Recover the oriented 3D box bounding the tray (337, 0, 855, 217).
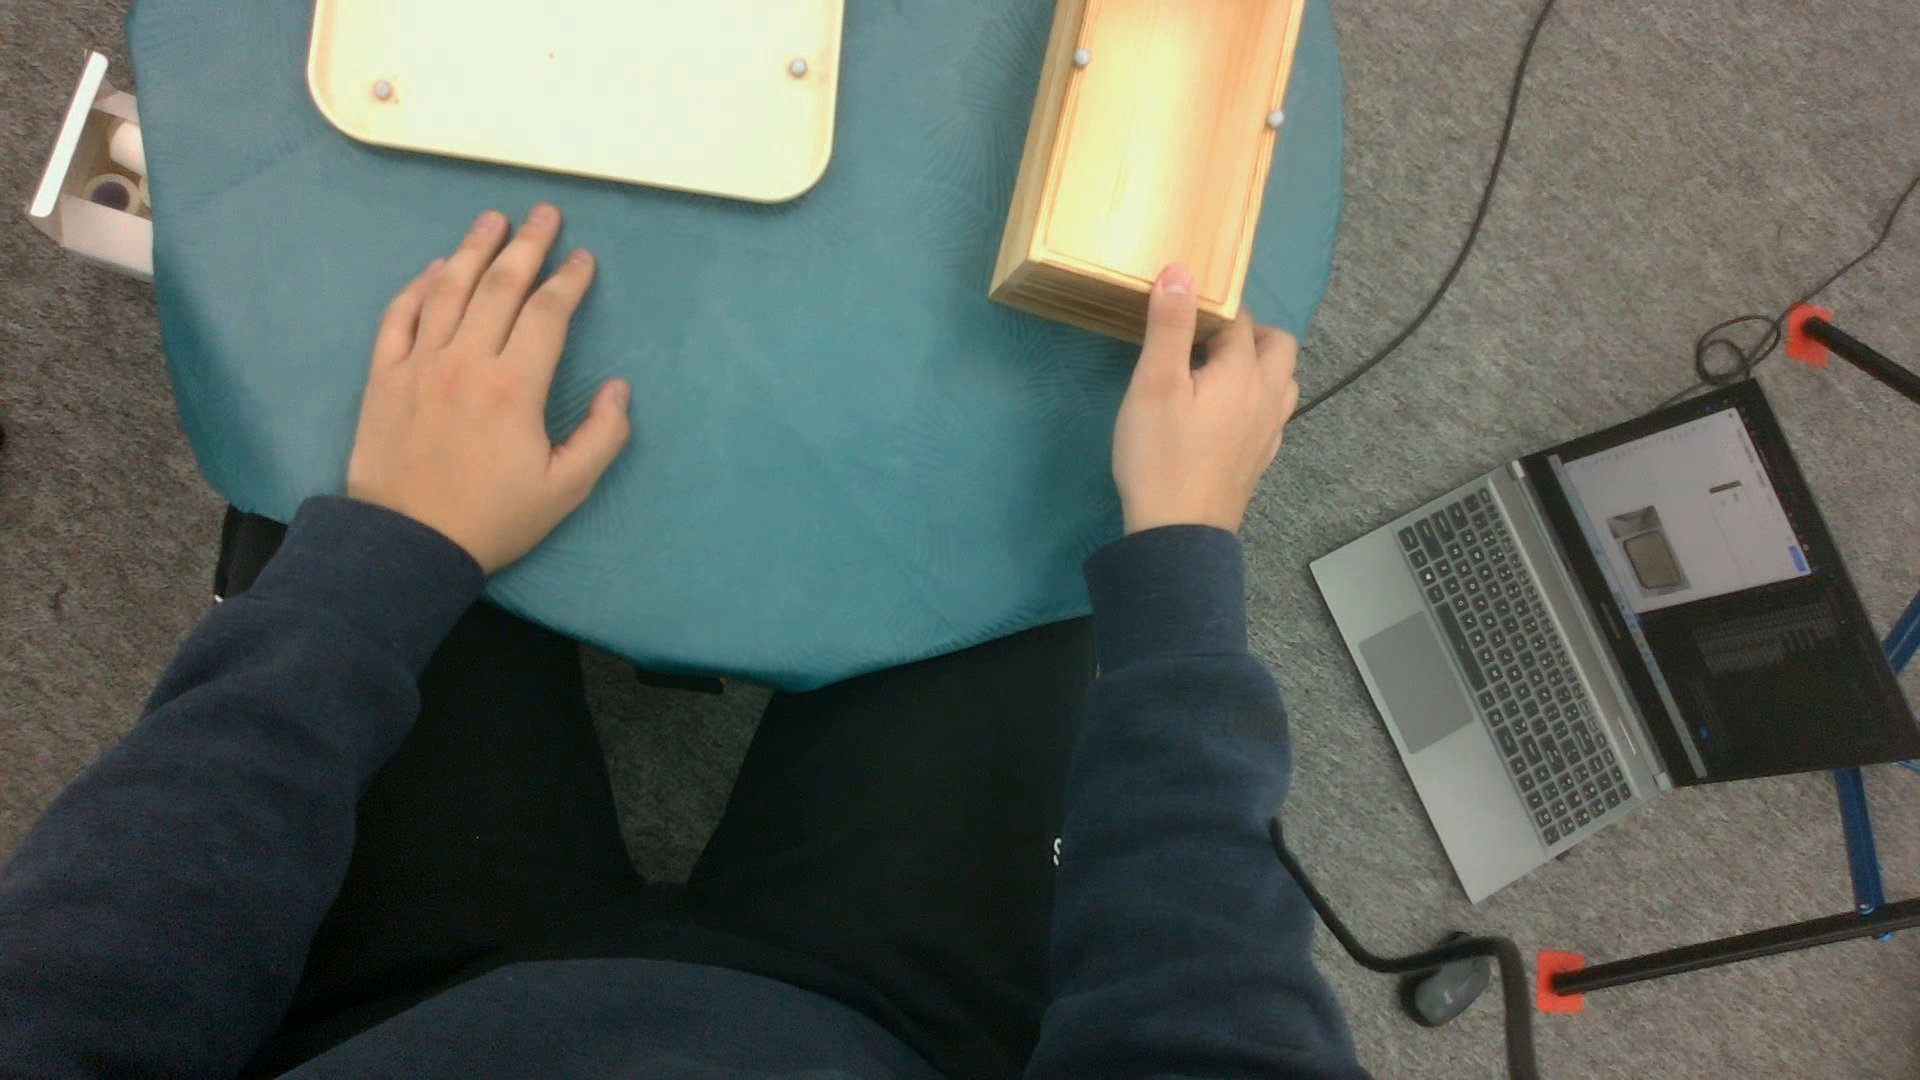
[{"bbox_3d":[-0.174,-0.252,0.681,0.240,0.017,0.171,5,84,-12],"label":"tray"}]

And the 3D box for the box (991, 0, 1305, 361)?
[{"bbox_3d":[0.097,-0.211,0.703,0.107,0.080,0.211,15,82,-10],"label":"box"}]
